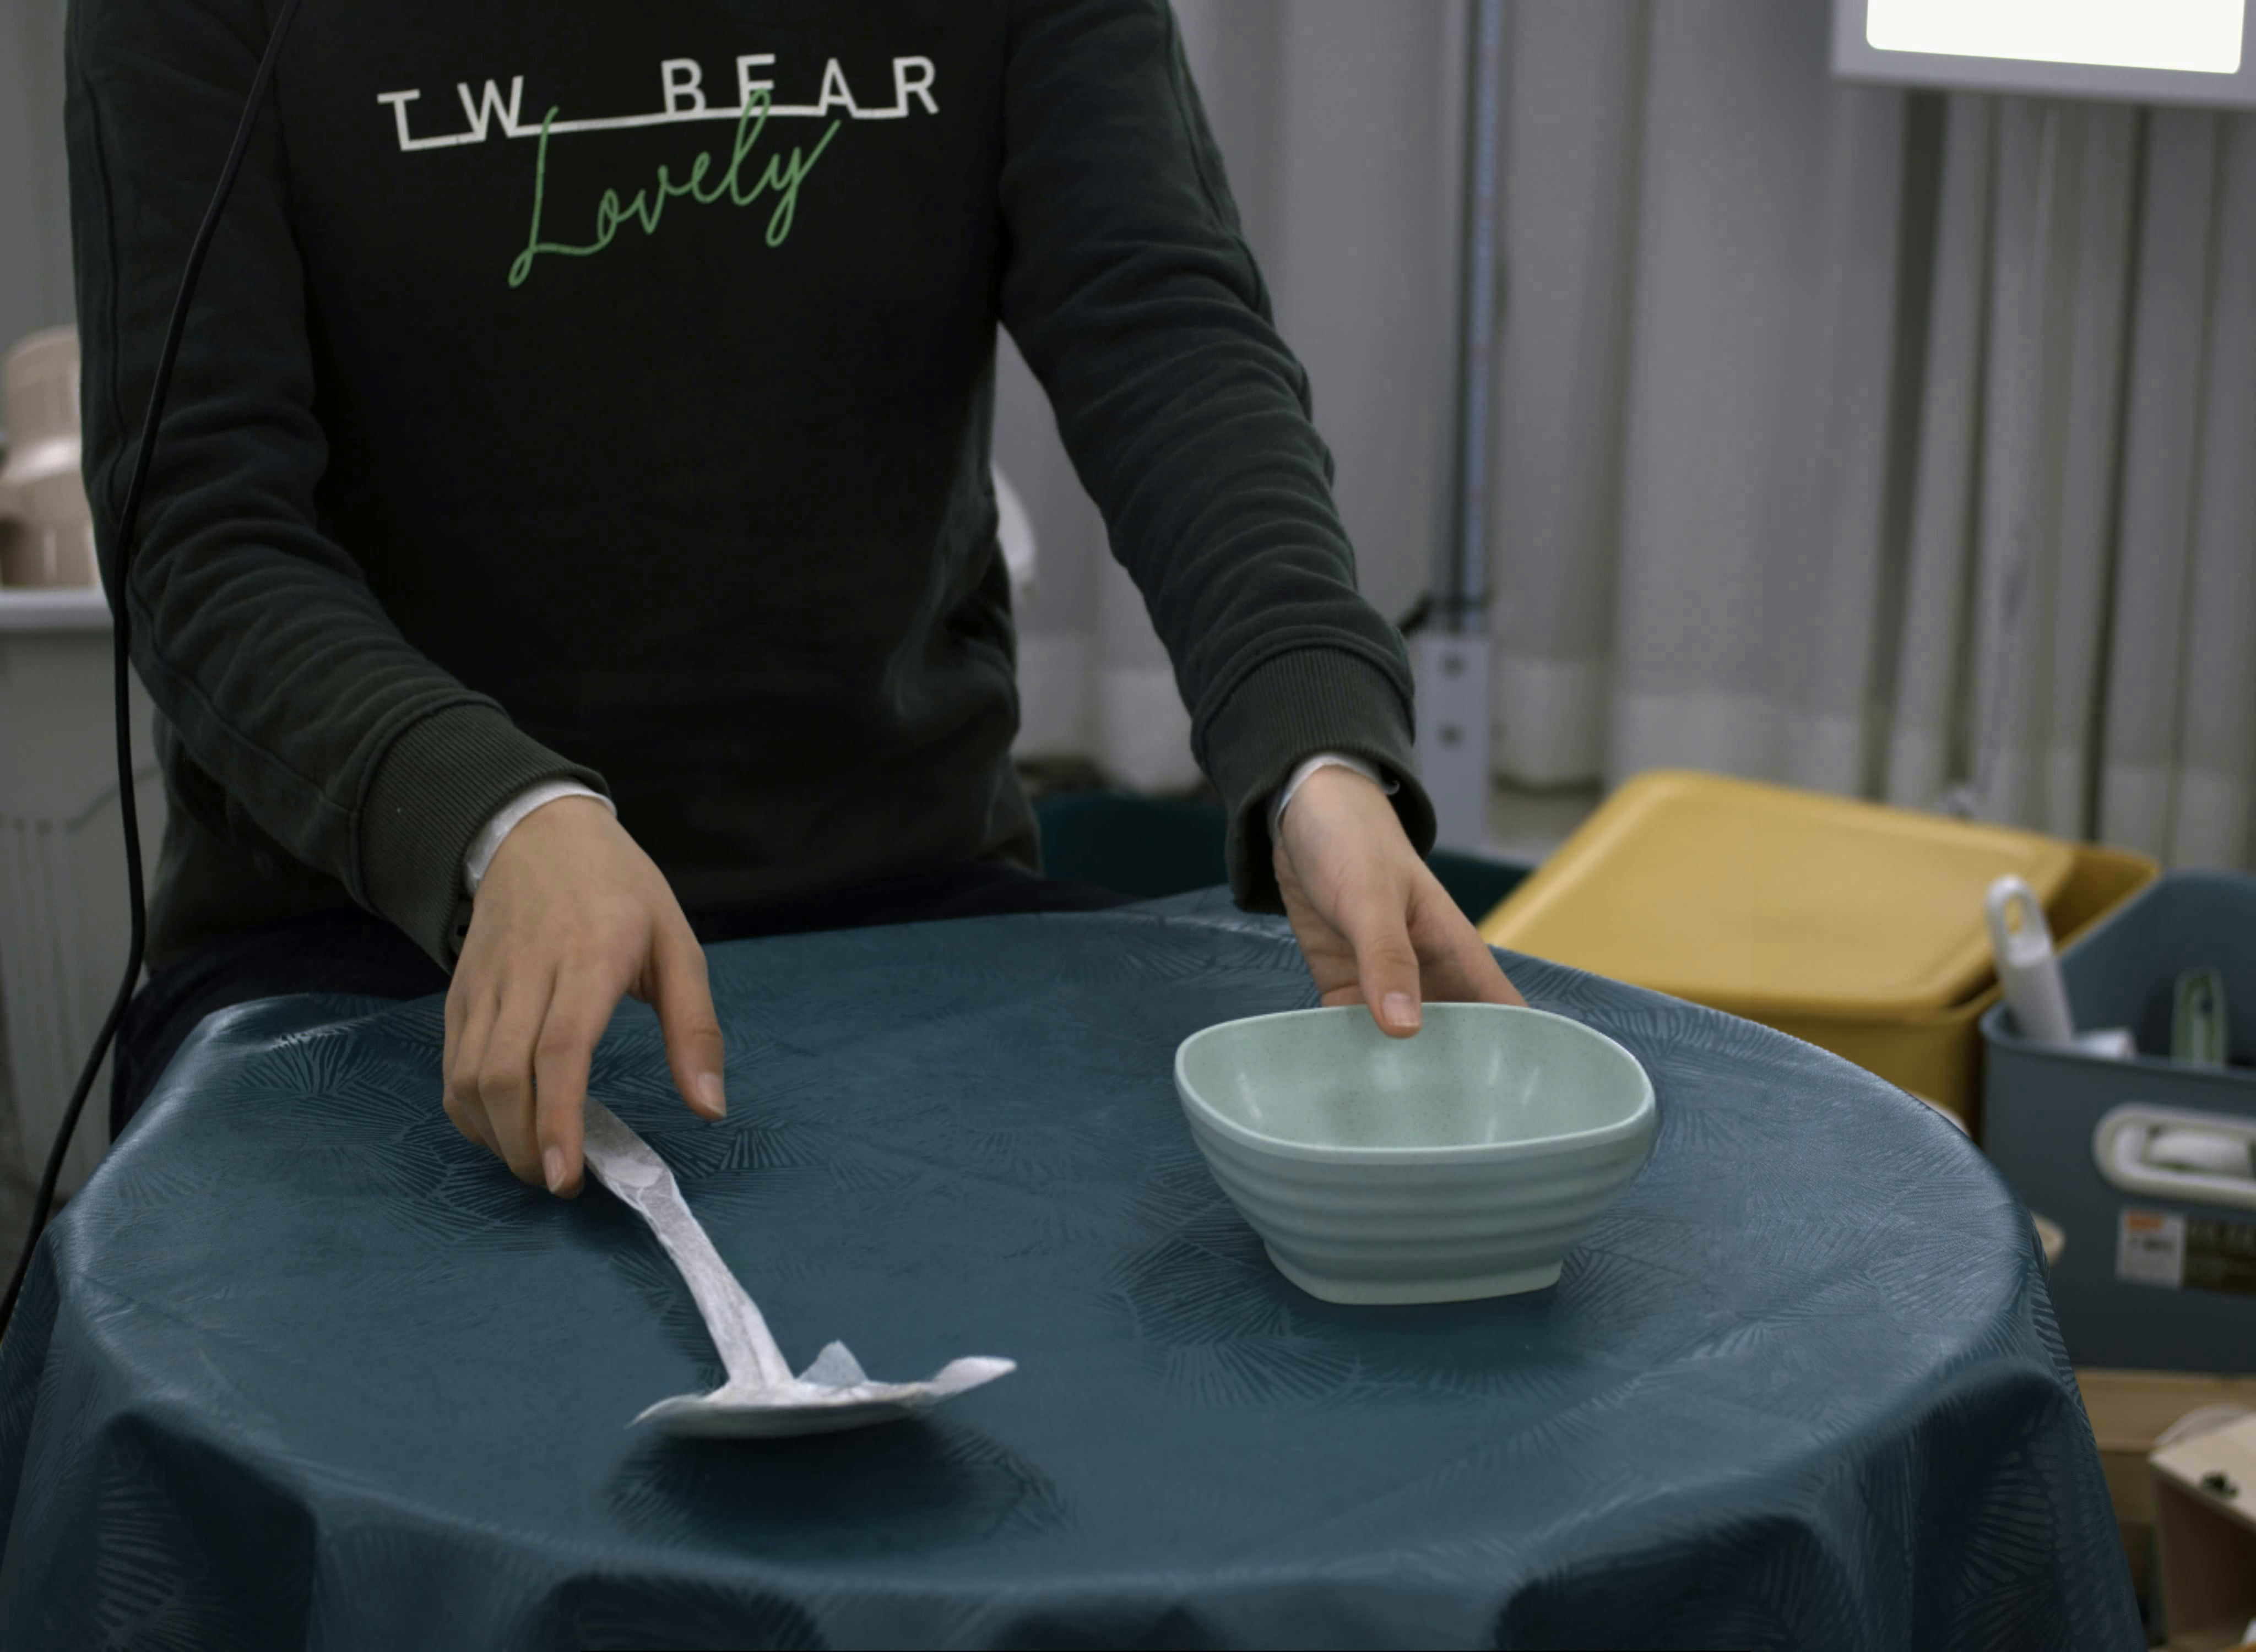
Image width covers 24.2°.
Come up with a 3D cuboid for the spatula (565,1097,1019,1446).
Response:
[{"bbox_3d":[-0.122,0.119,1.526,0.099,0.045,0.361,-6,17,-17],"label":"spatula"}]

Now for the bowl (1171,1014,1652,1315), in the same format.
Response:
[{"bbox_3d":[0.083,0.104,1.566,0.151,0.059,0.150,2,15,0],"label":"bowl"}]
